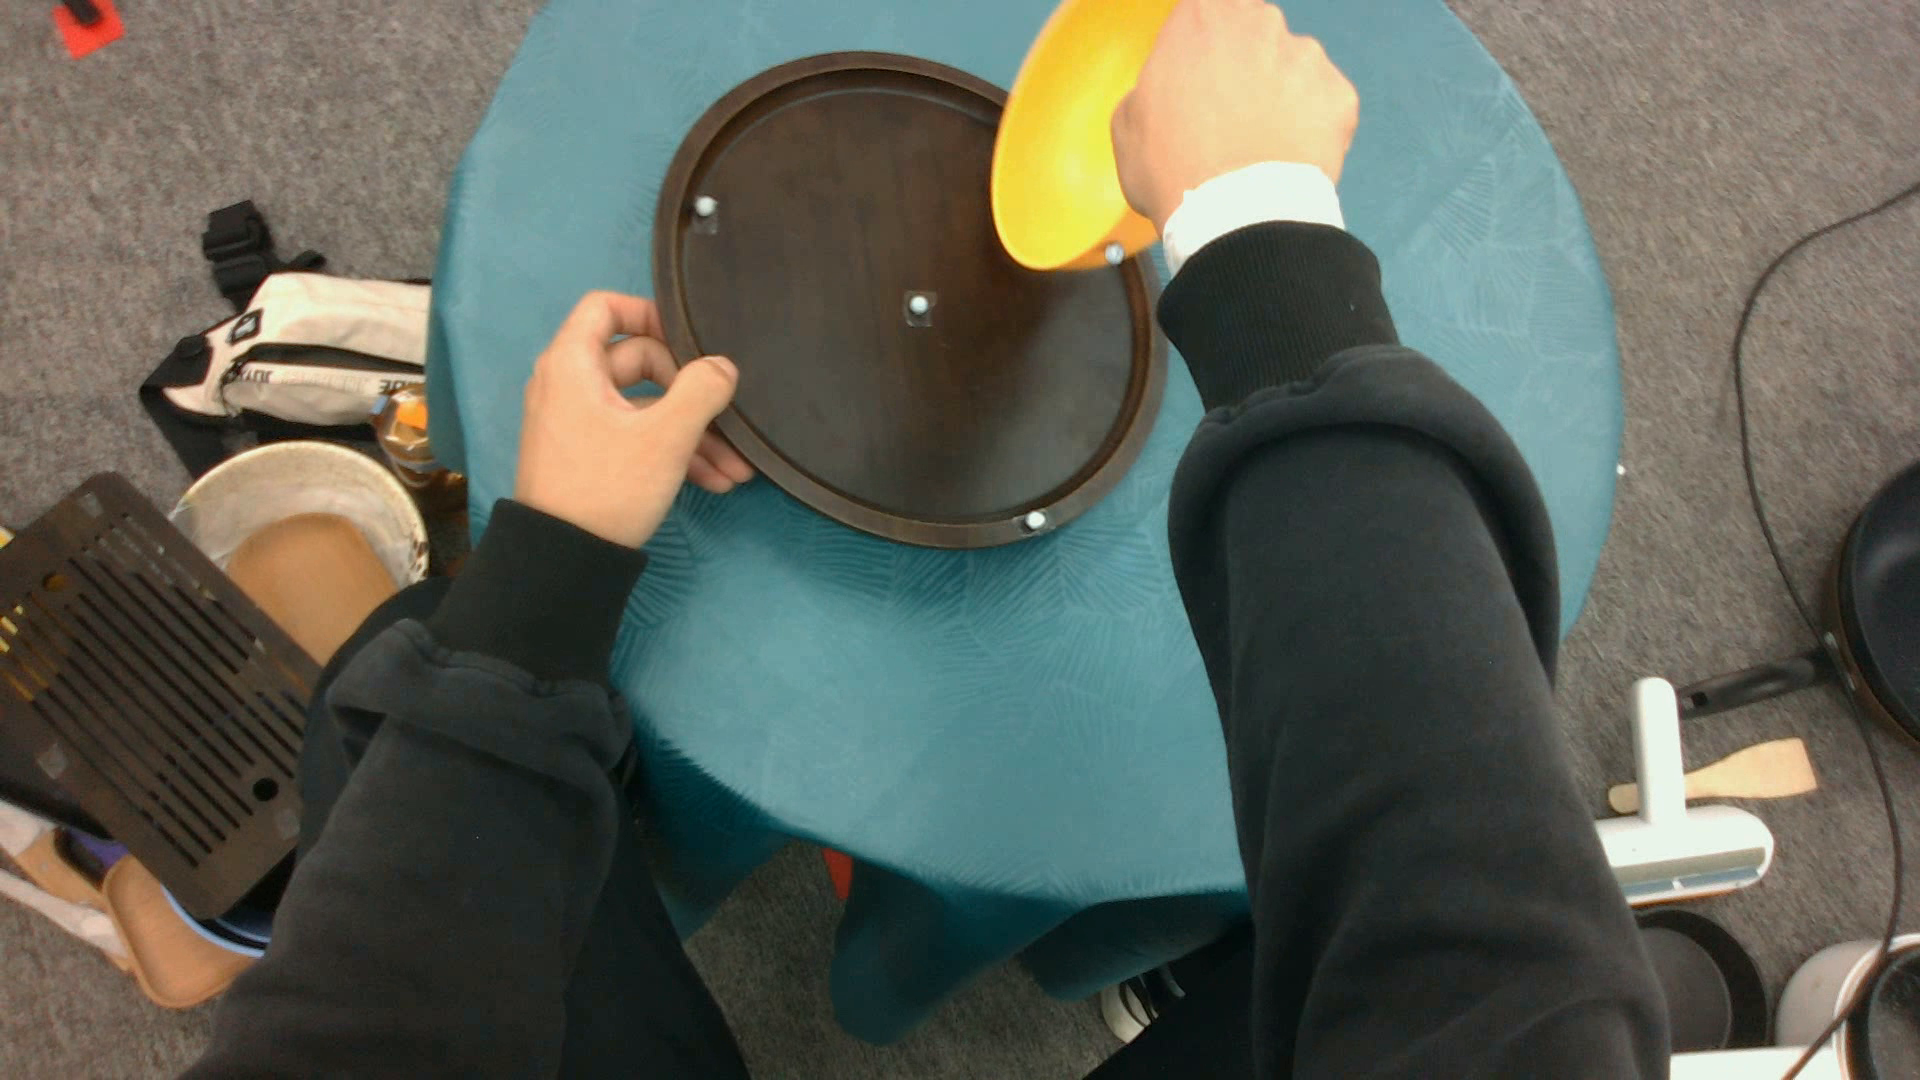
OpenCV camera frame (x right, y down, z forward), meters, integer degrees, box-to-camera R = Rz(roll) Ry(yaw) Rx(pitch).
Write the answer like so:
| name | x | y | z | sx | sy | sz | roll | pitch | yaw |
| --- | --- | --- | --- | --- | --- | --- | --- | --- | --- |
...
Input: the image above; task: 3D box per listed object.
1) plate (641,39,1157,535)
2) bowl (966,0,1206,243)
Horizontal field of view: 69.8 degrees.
| name | x | y | z | sx | sy | sz | roll | pitch | yaw |
| --- | --- | --- | --- | --- | --- | --- | --- | --- | --- |
| plate | -0.022 | -0.121 | 0.643 | 0.255 | 0.029 | 0.255 | 8 | 70 | -22 |
| bowl | 0.066 | -0.203 | 0.624 | 0.060 | 0.144 | 0.145 | 4 | 70 | -34 |
